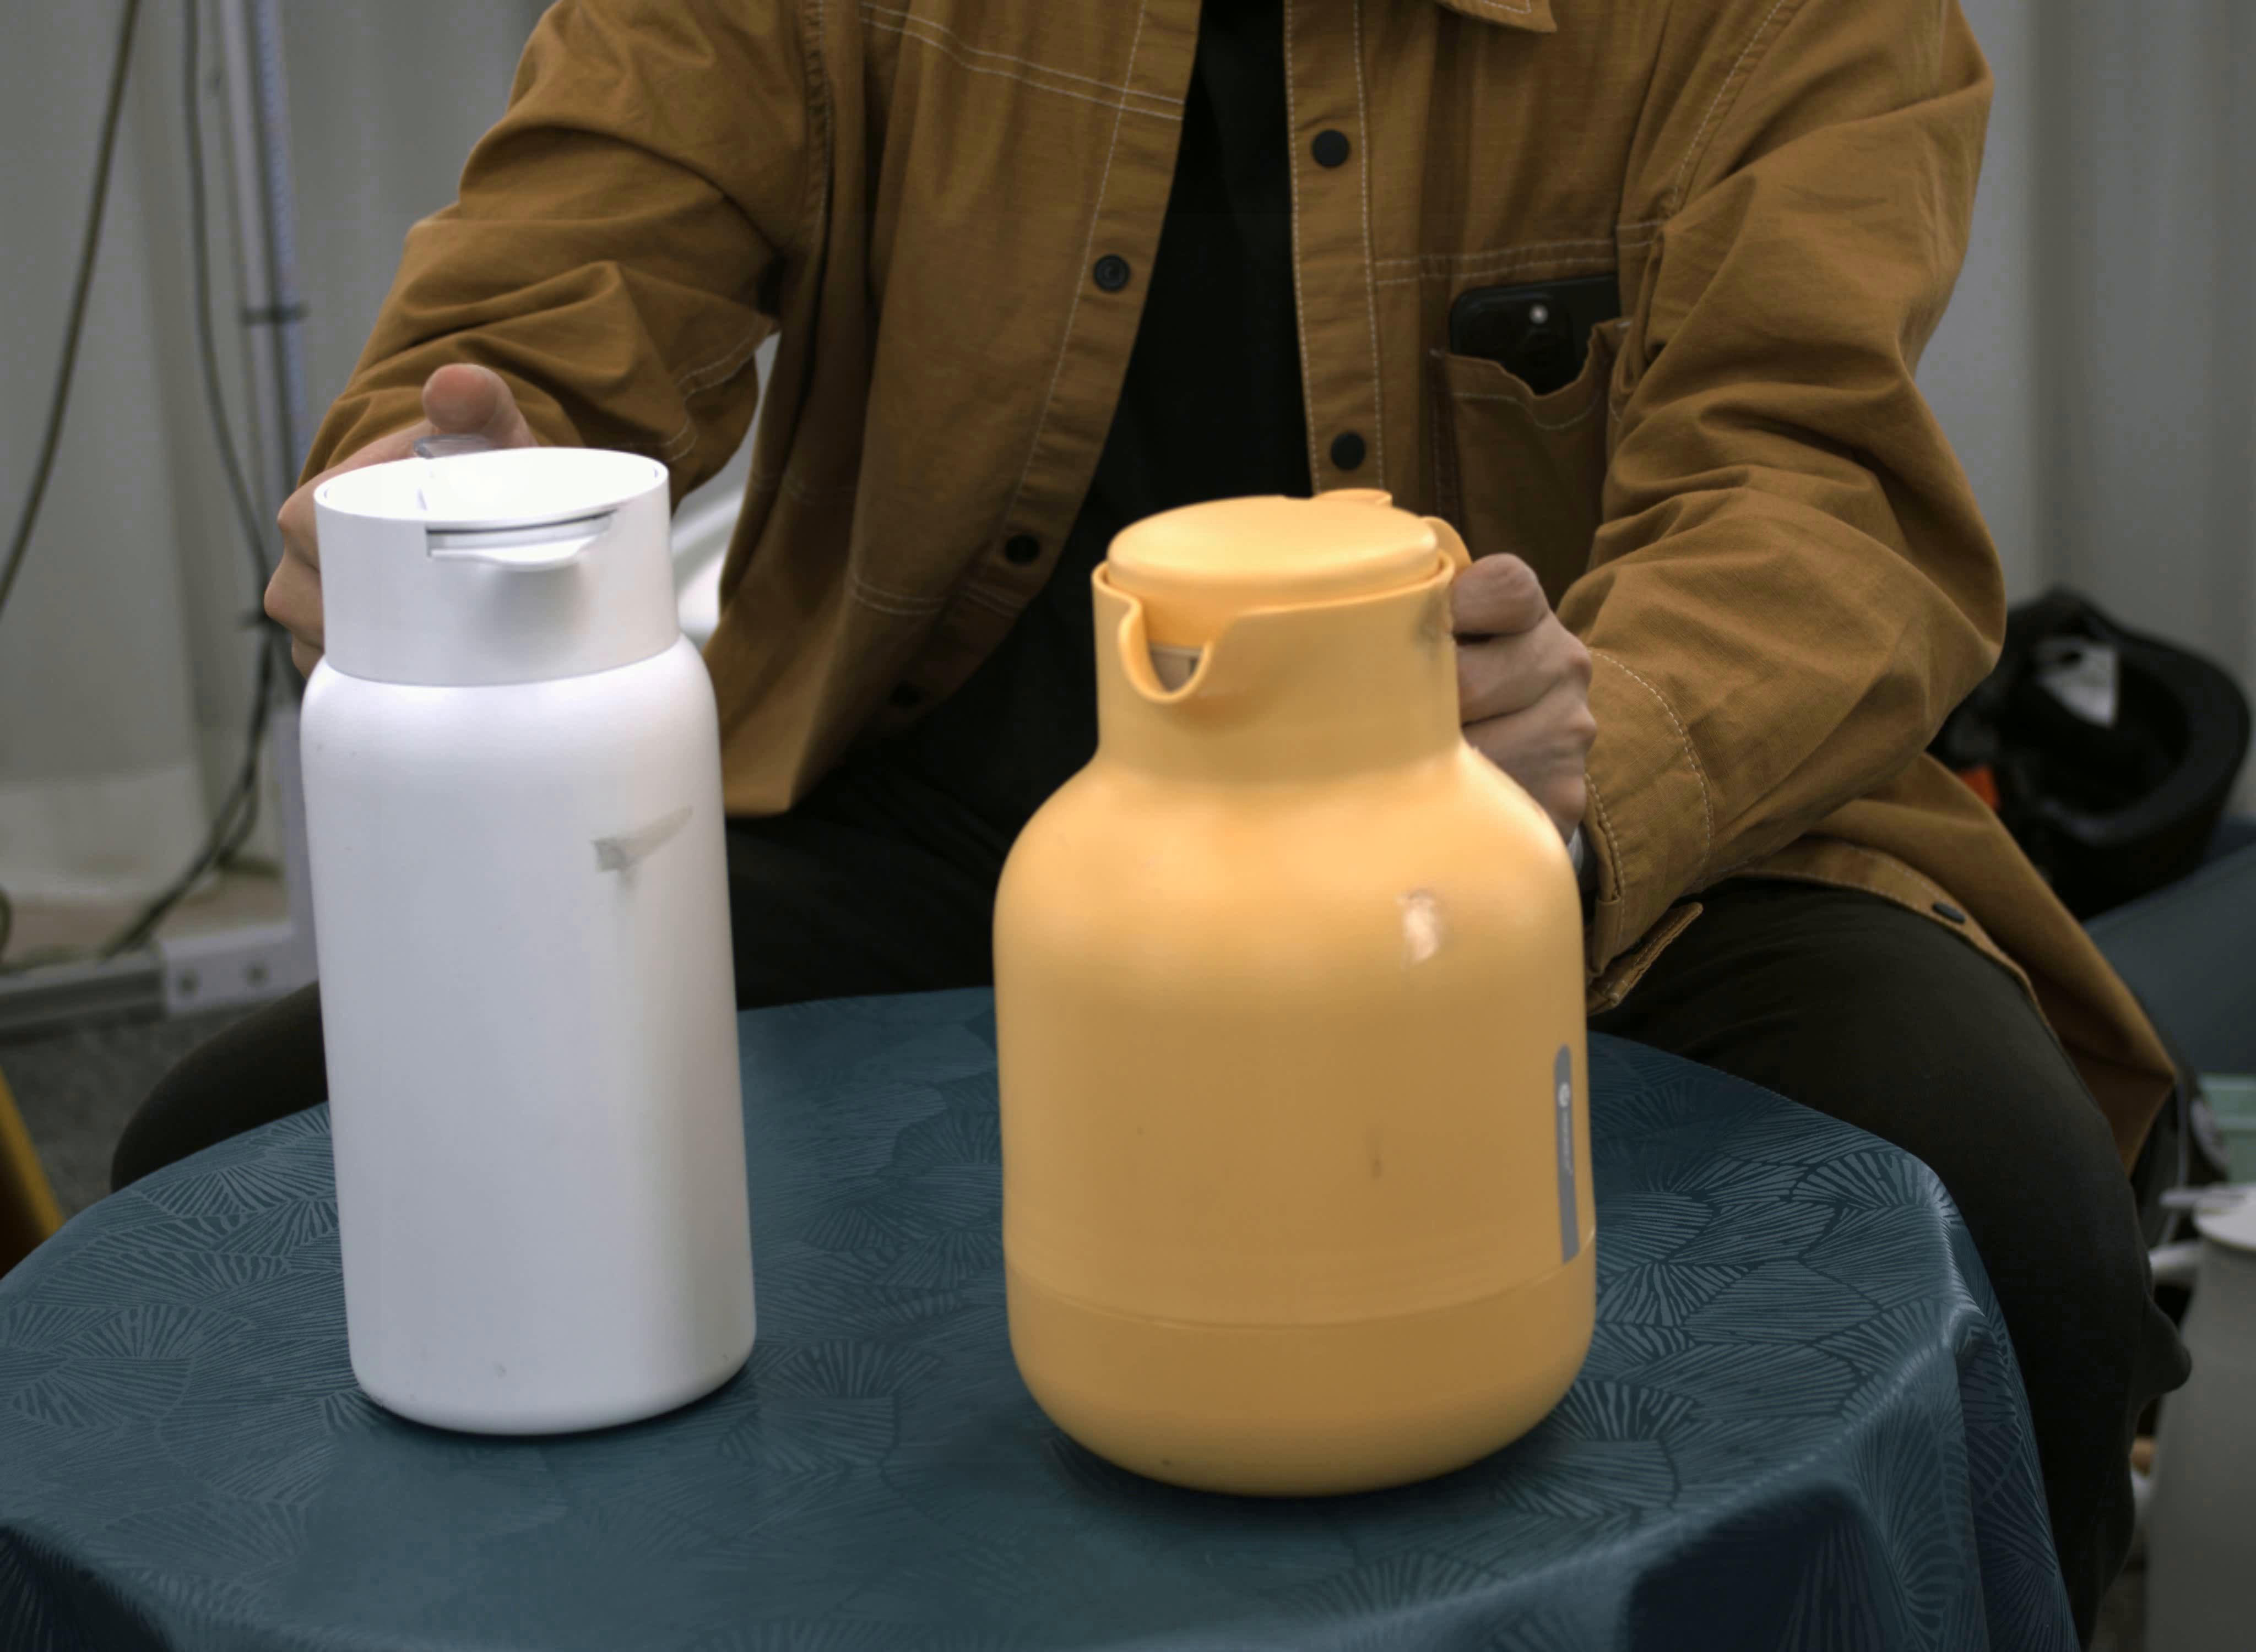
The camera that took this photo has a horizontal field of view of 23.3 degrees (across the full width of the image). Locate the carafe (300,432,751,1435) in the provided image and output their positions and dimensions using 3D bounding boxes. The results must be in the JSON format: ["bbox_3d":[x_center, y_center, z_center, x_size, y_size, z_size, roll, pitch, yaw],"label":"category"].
[{"bbox_3d":[-0.178,0.026,1.564,0.123,0.268,0.174,-9,15,-17],"label":"carafe"}]

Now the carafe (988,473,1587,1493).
[{"bbox_3d":[0.052,0.034,1.498,0.164,0.259,0.203,8,19,27],"label":"carafe"}]
